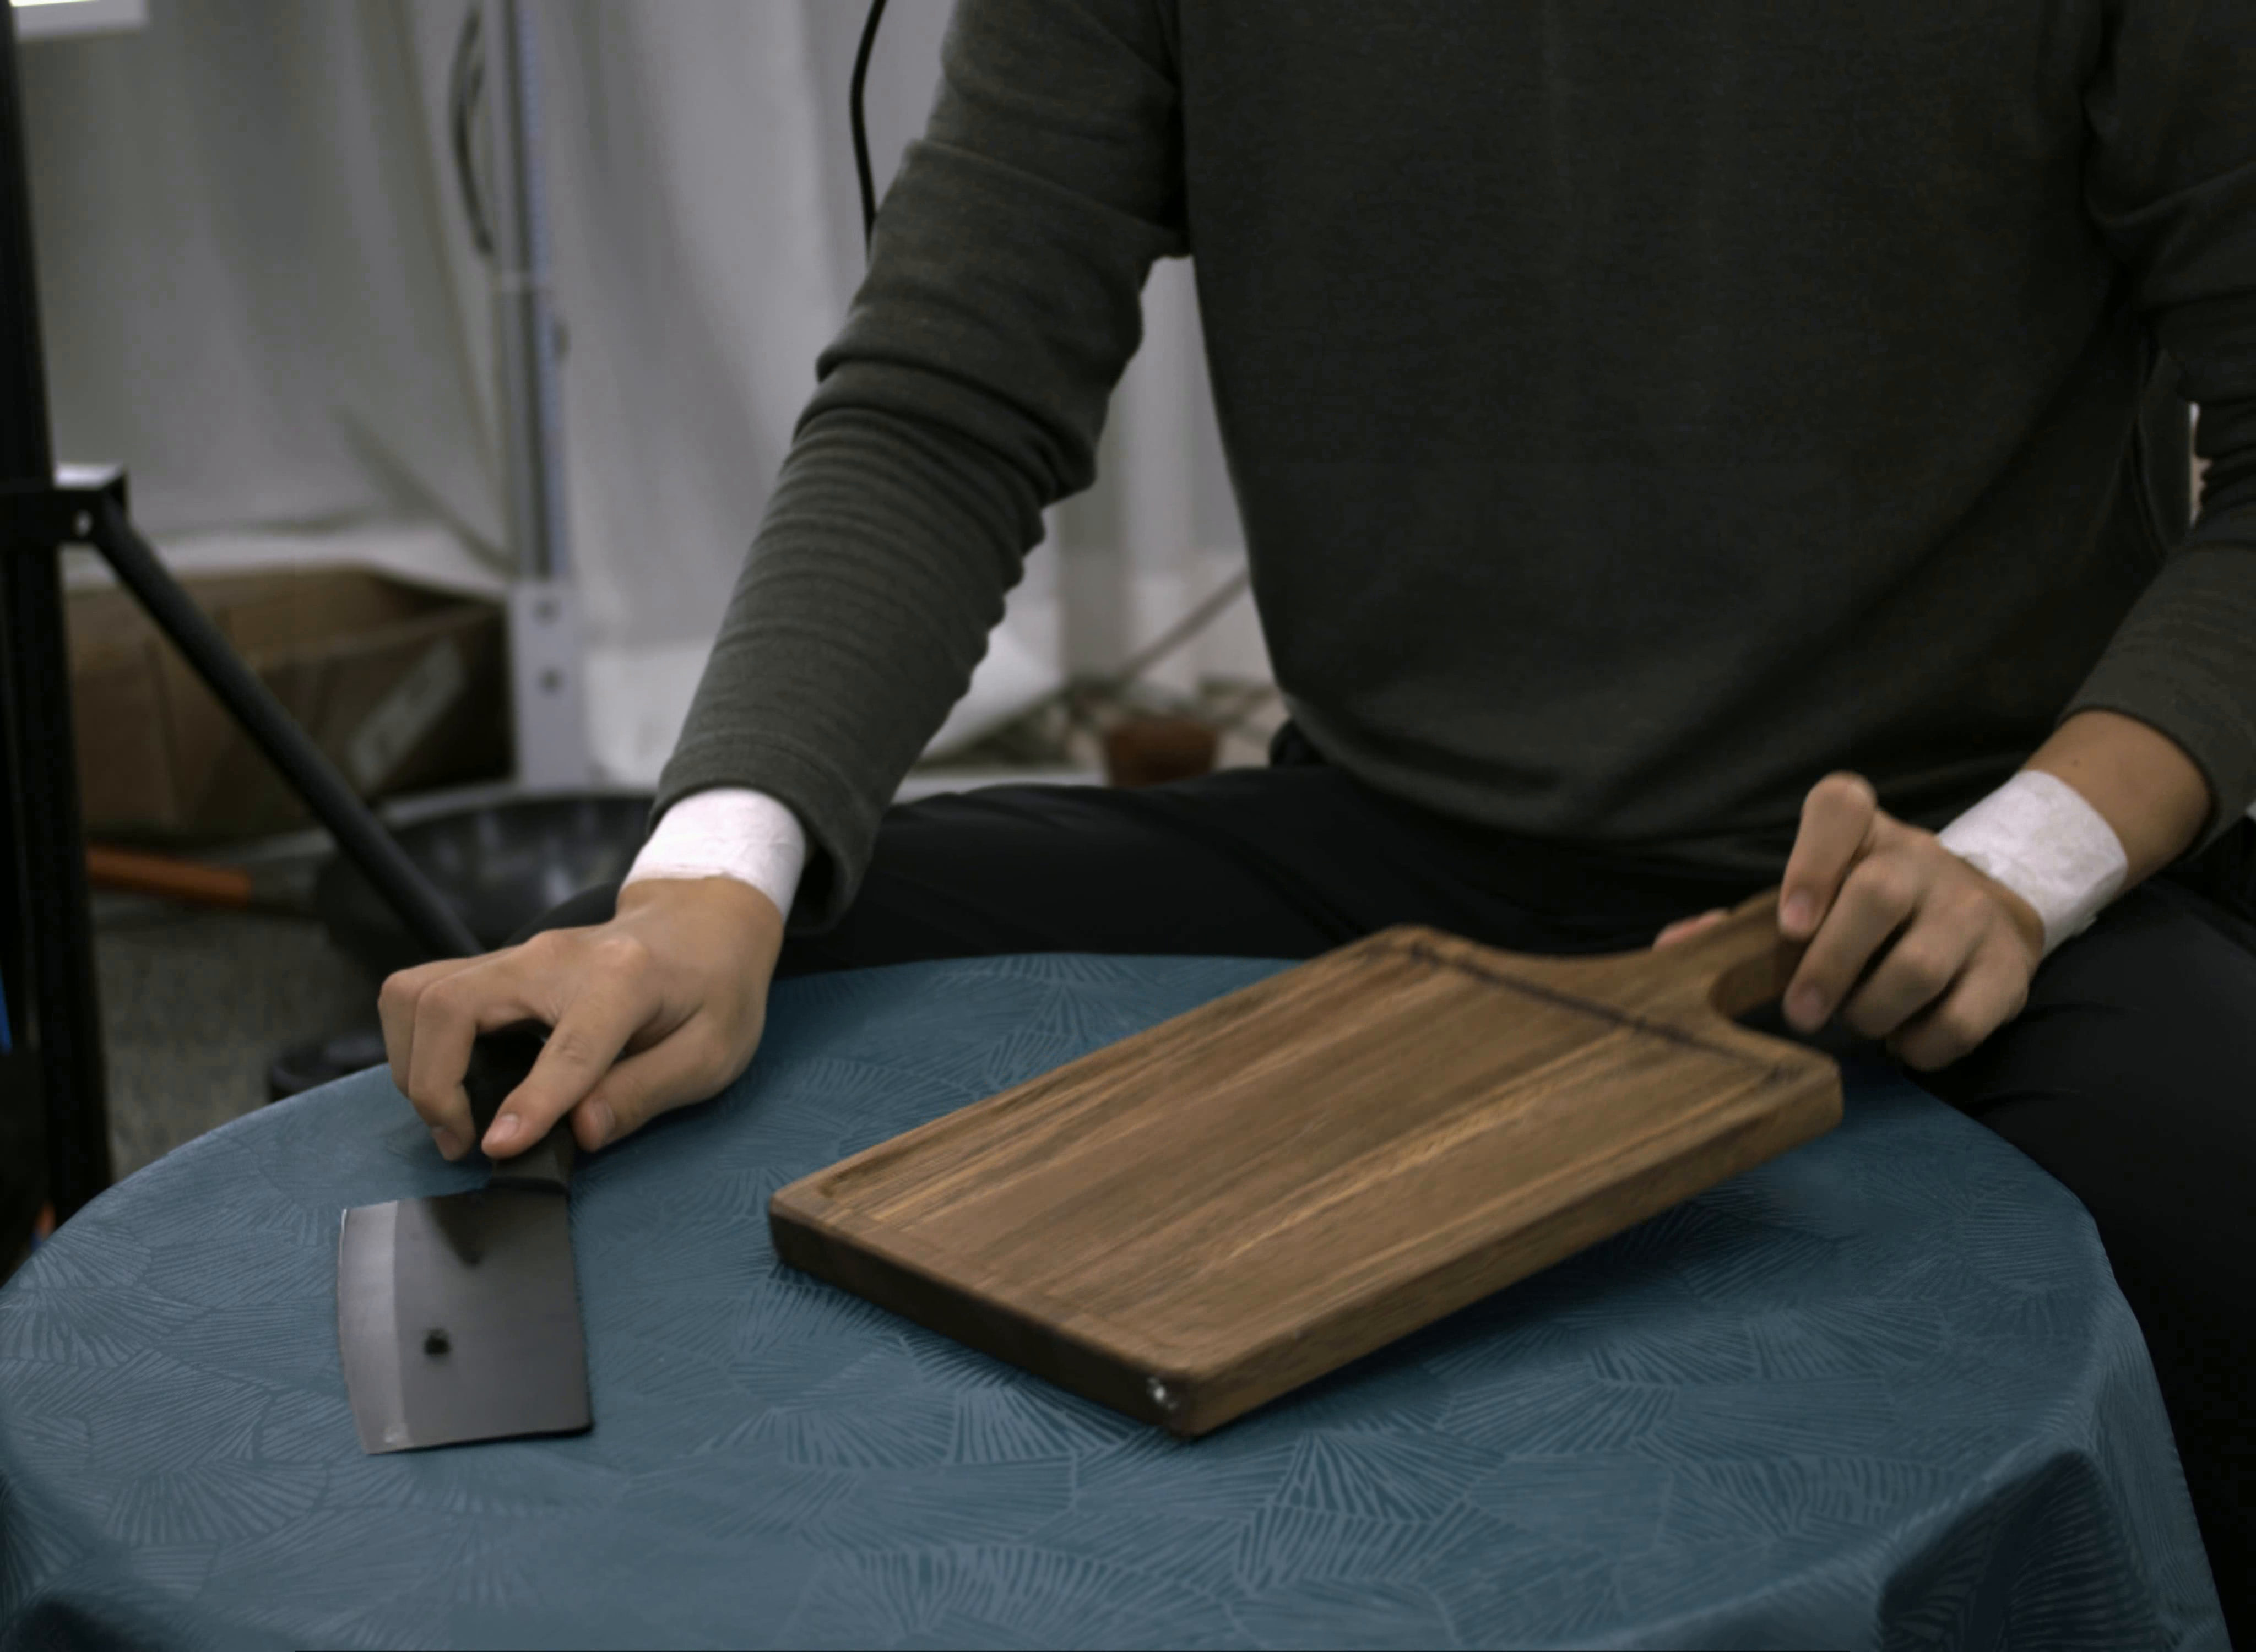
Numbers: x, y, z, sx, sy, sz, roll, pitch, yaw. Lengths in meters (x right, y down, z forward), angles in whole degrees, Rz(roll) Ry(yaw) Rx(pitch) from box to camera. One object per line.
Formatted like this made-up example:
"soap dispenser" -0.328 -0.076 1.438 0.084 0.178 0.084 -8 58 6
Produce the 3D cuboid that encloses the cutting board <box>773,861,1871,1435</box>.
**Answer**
"cutting board" 0.090 0.077 1.537 0.345 0.023 0.206 -22 25 -33

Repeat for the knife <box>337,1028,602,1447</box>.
"knife" -0.188 0.116 1.538 0.080 0.021 0.304 -6 18 -3
